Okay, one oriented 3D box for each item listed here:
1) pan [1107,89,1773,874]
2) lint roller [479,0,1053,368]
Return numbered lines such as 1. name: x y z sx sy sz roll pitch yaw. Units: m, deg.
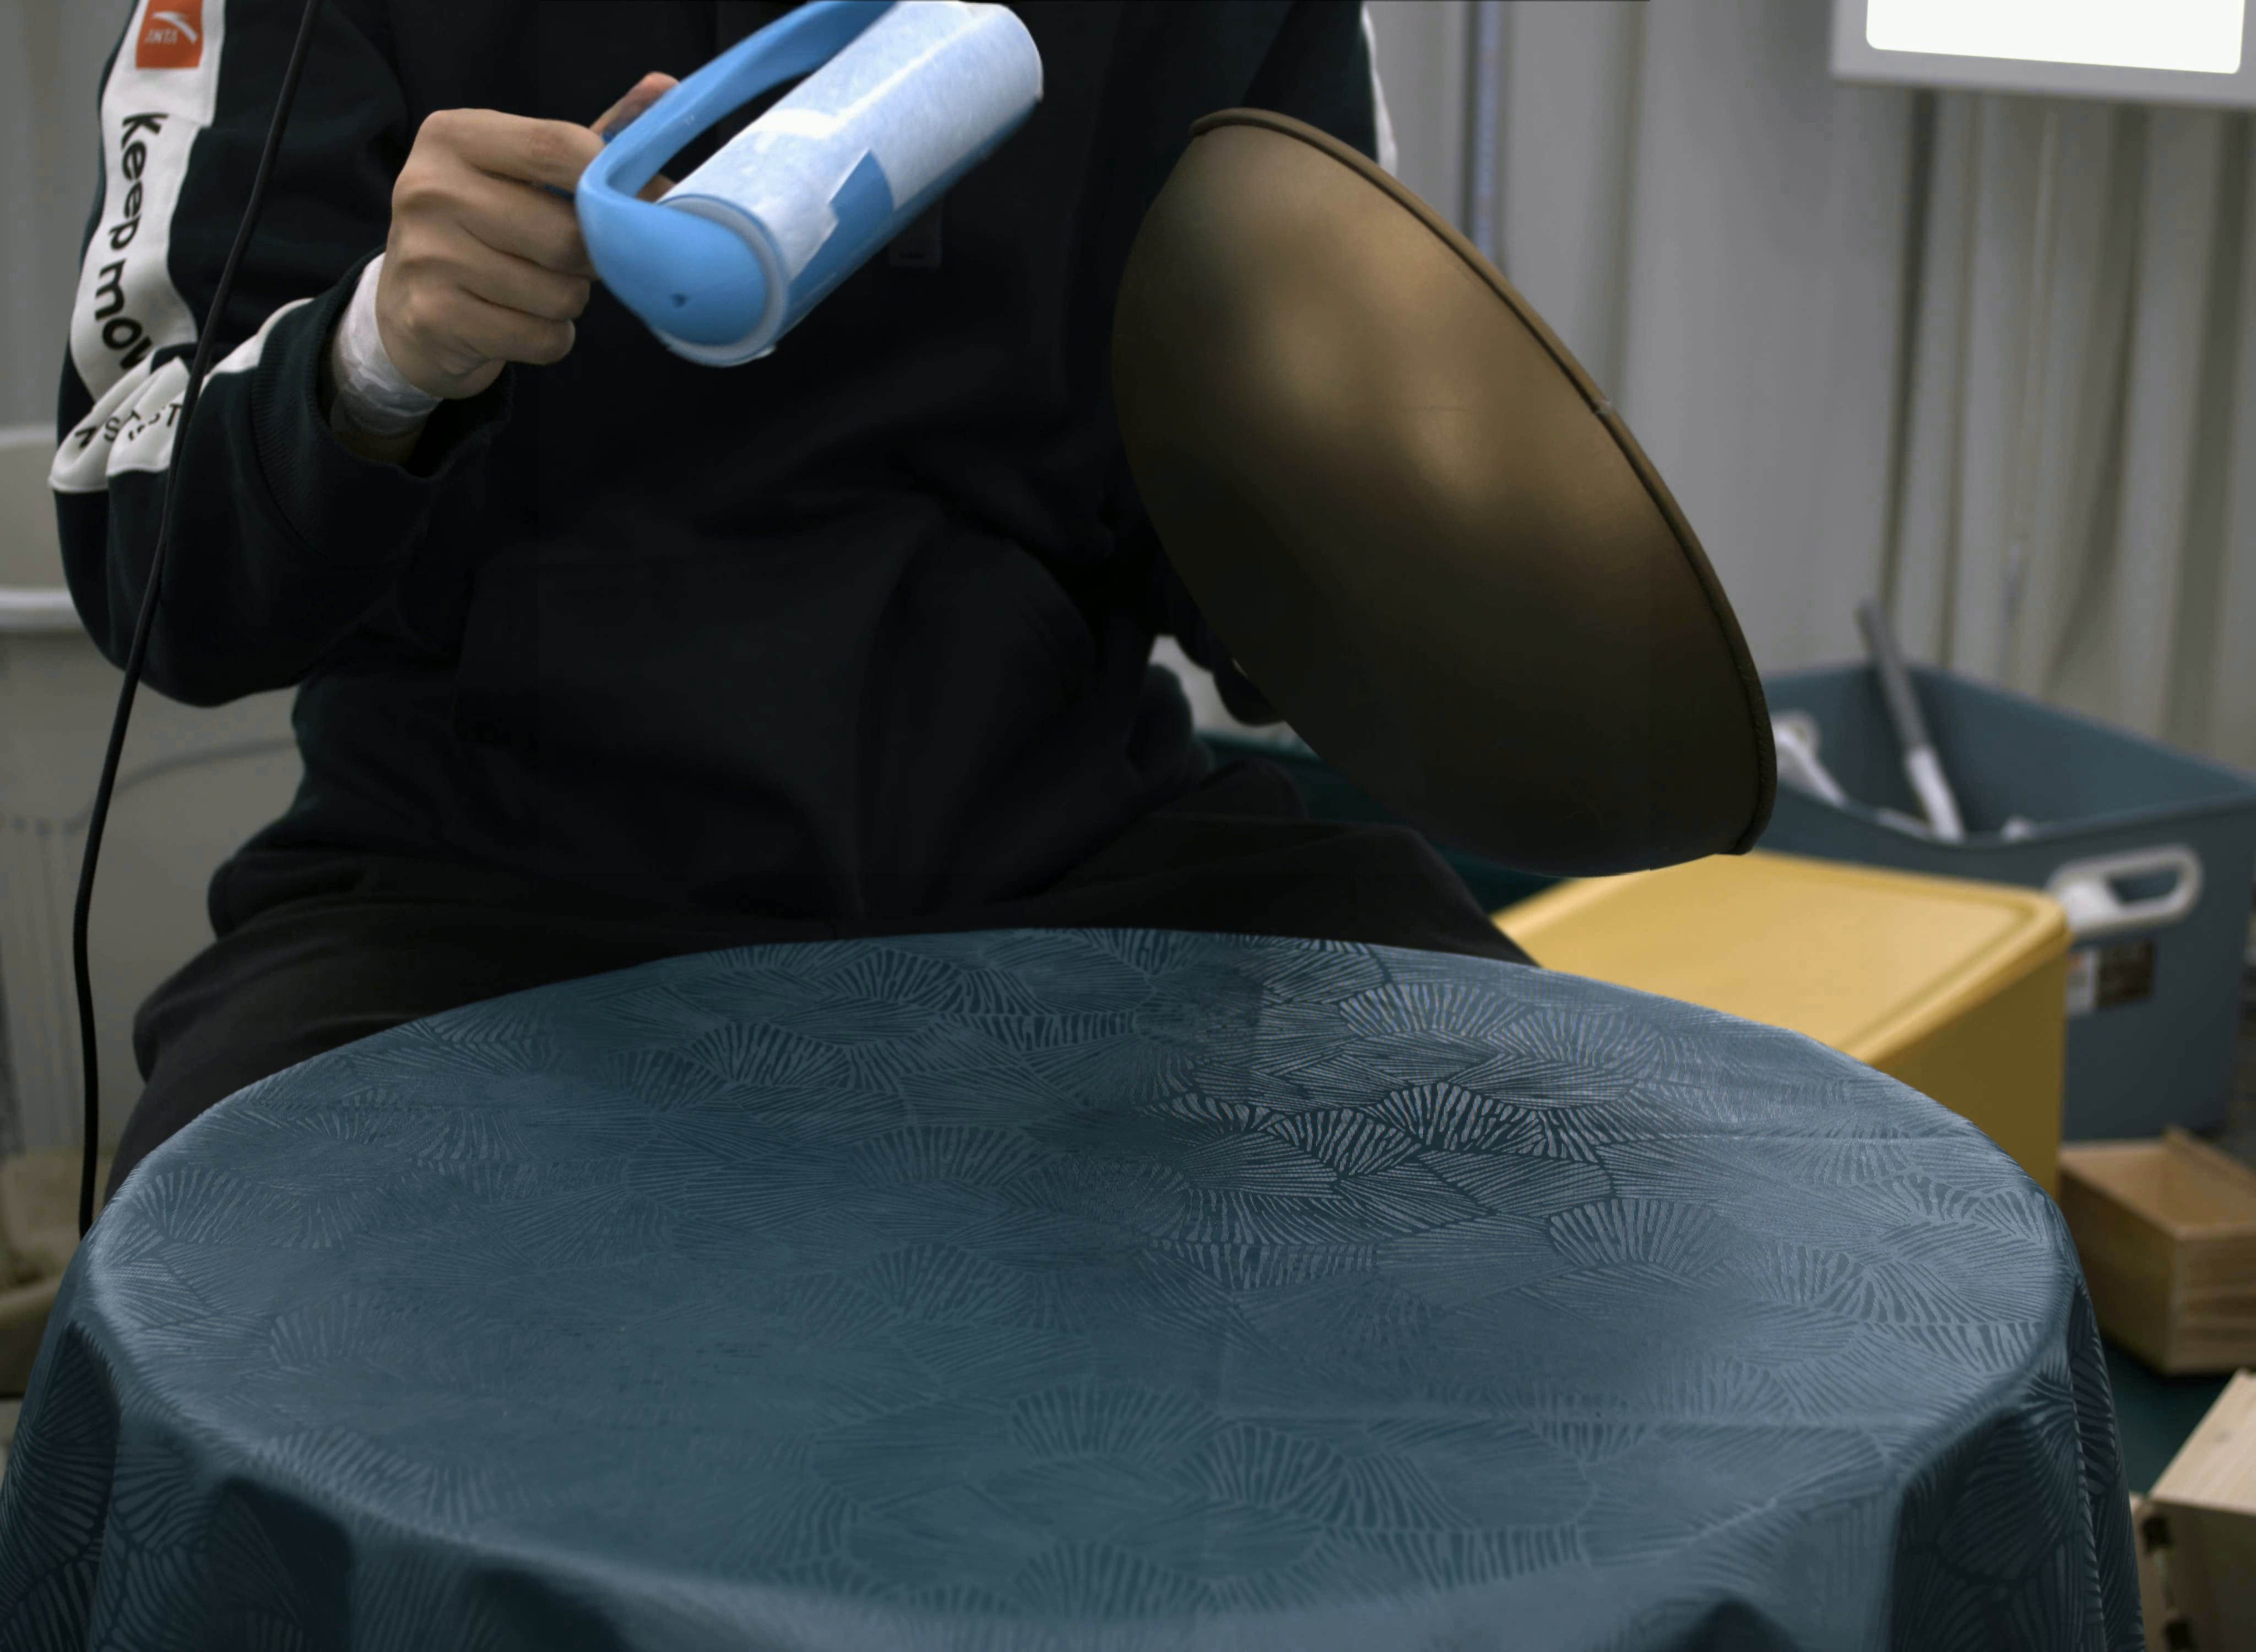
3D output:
1. pan: 0.063 -0.073 1.728 0.087 0.288 0.463 -37 -2 -14
2. lint roller: -0.136 -0.191 1.620 0.179 0.068 0.228 -12 21 26
